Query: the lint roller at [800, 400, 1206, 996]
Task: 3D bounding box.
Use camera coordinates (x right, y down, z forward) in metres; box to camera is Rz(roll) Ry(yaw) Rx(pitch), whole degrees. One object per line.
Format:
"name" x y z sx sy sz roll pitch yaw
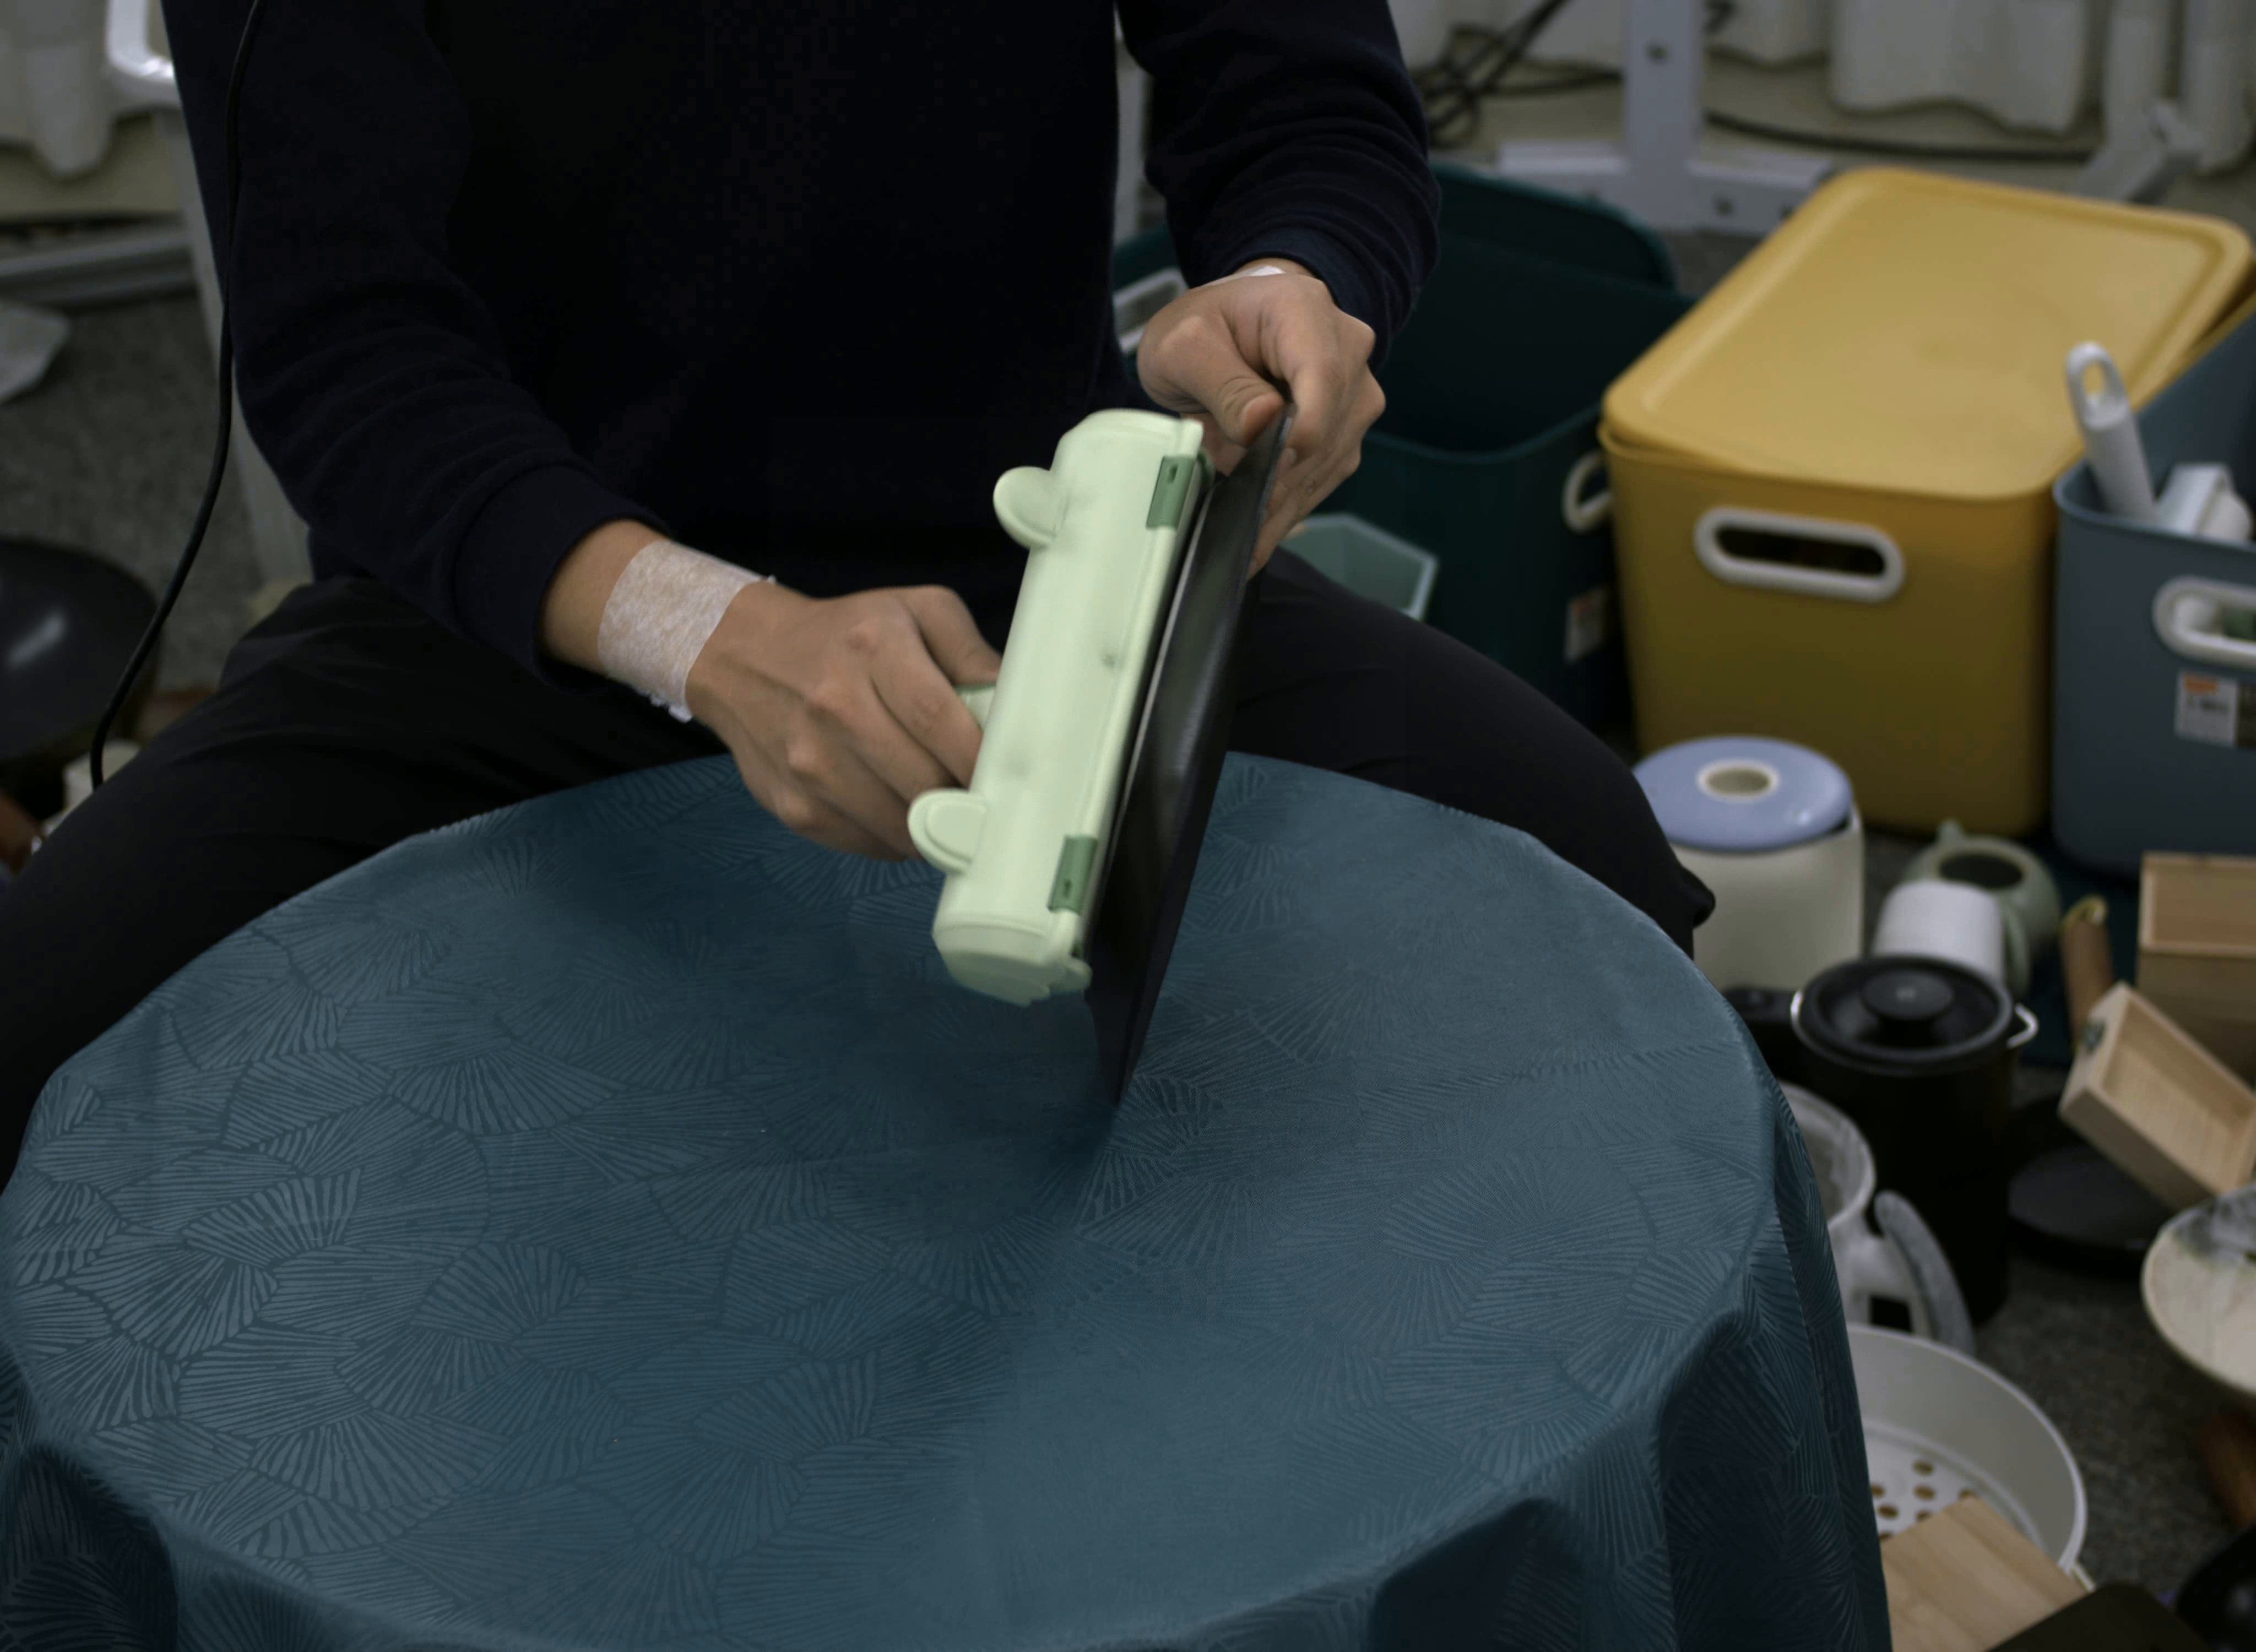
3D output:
"lint roller" -0.063 -0.042 1.866 0.181 0.082 0.202 -6 60 42

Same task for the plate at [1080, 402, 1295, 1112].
"plate" 0.017 -0.025 1.885 0.023 0.241 0.248 14 29 3
